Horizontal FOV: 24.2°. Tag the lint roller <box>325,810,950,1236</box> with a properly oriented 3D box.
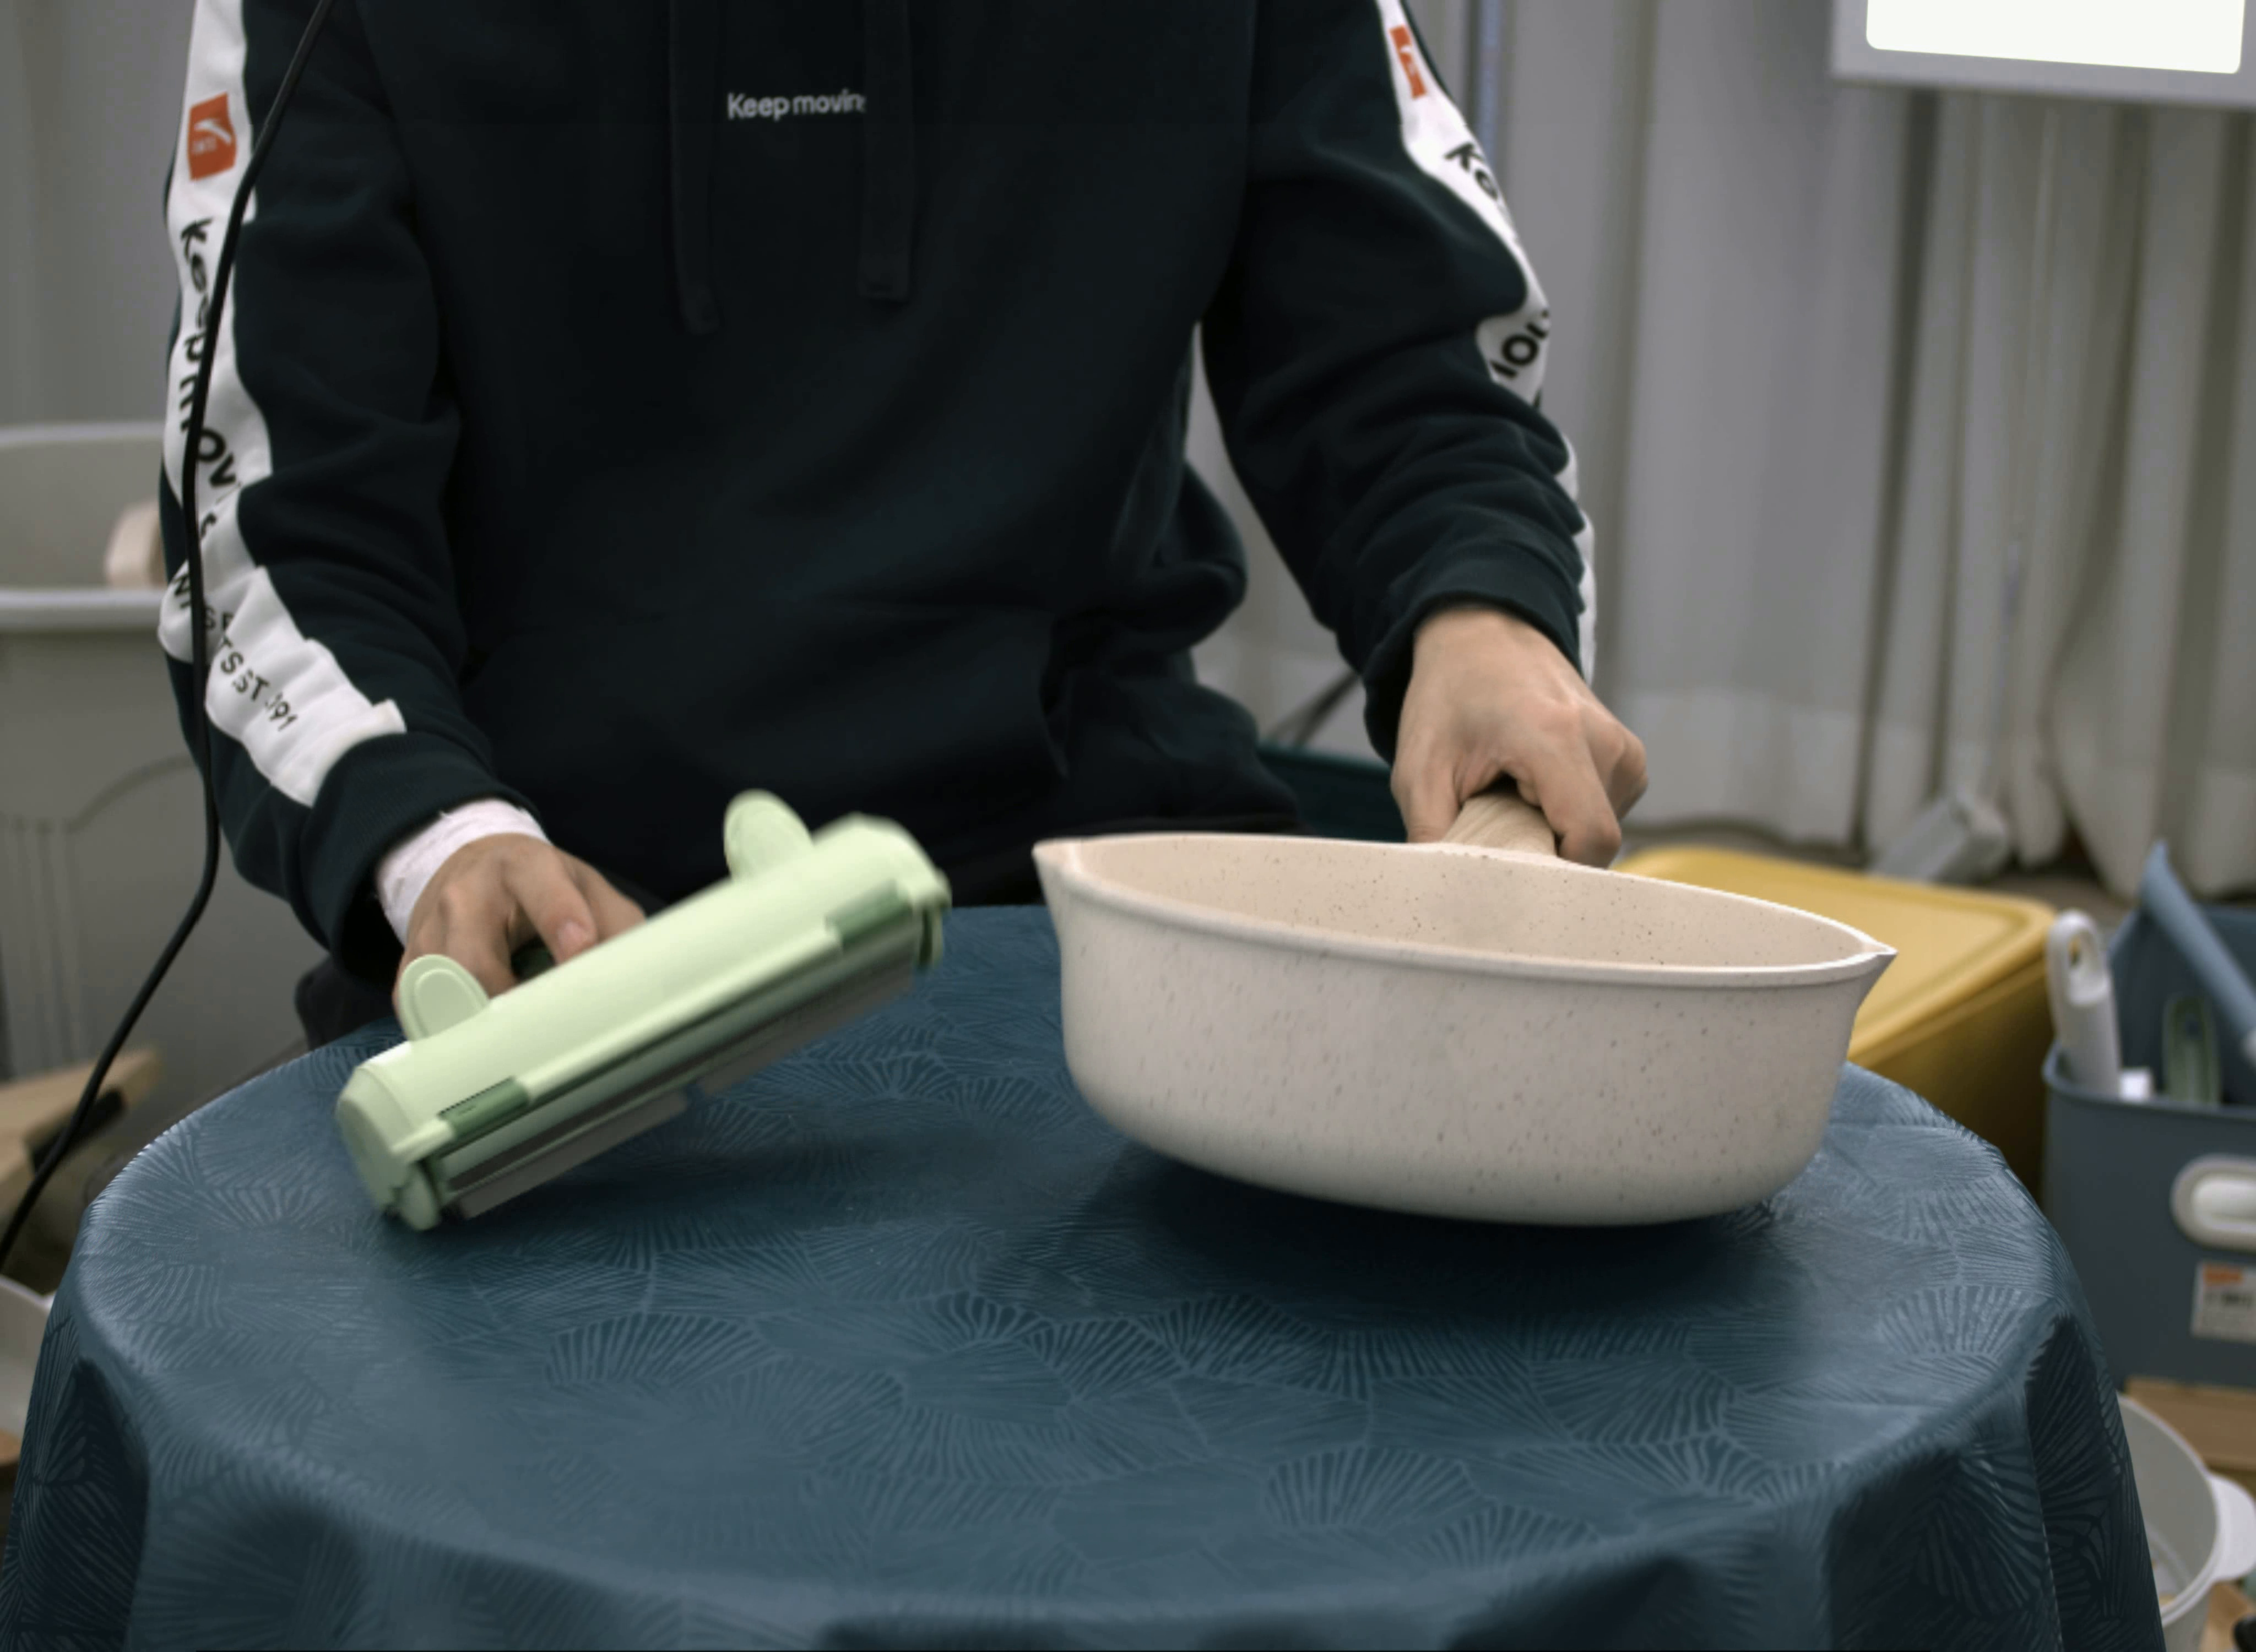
[{"bbox_3d":[-0.177,0.046,1.652,0.199,0.083,0.181,-25,23,-23],"label":"lint roller"}]

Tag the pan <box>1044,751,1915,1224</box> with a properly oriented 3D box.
[{"bbox_3d":[0.115,0.046,1.678,0.262,0.102,0.435,5,7,7],"label":"pan"}]
